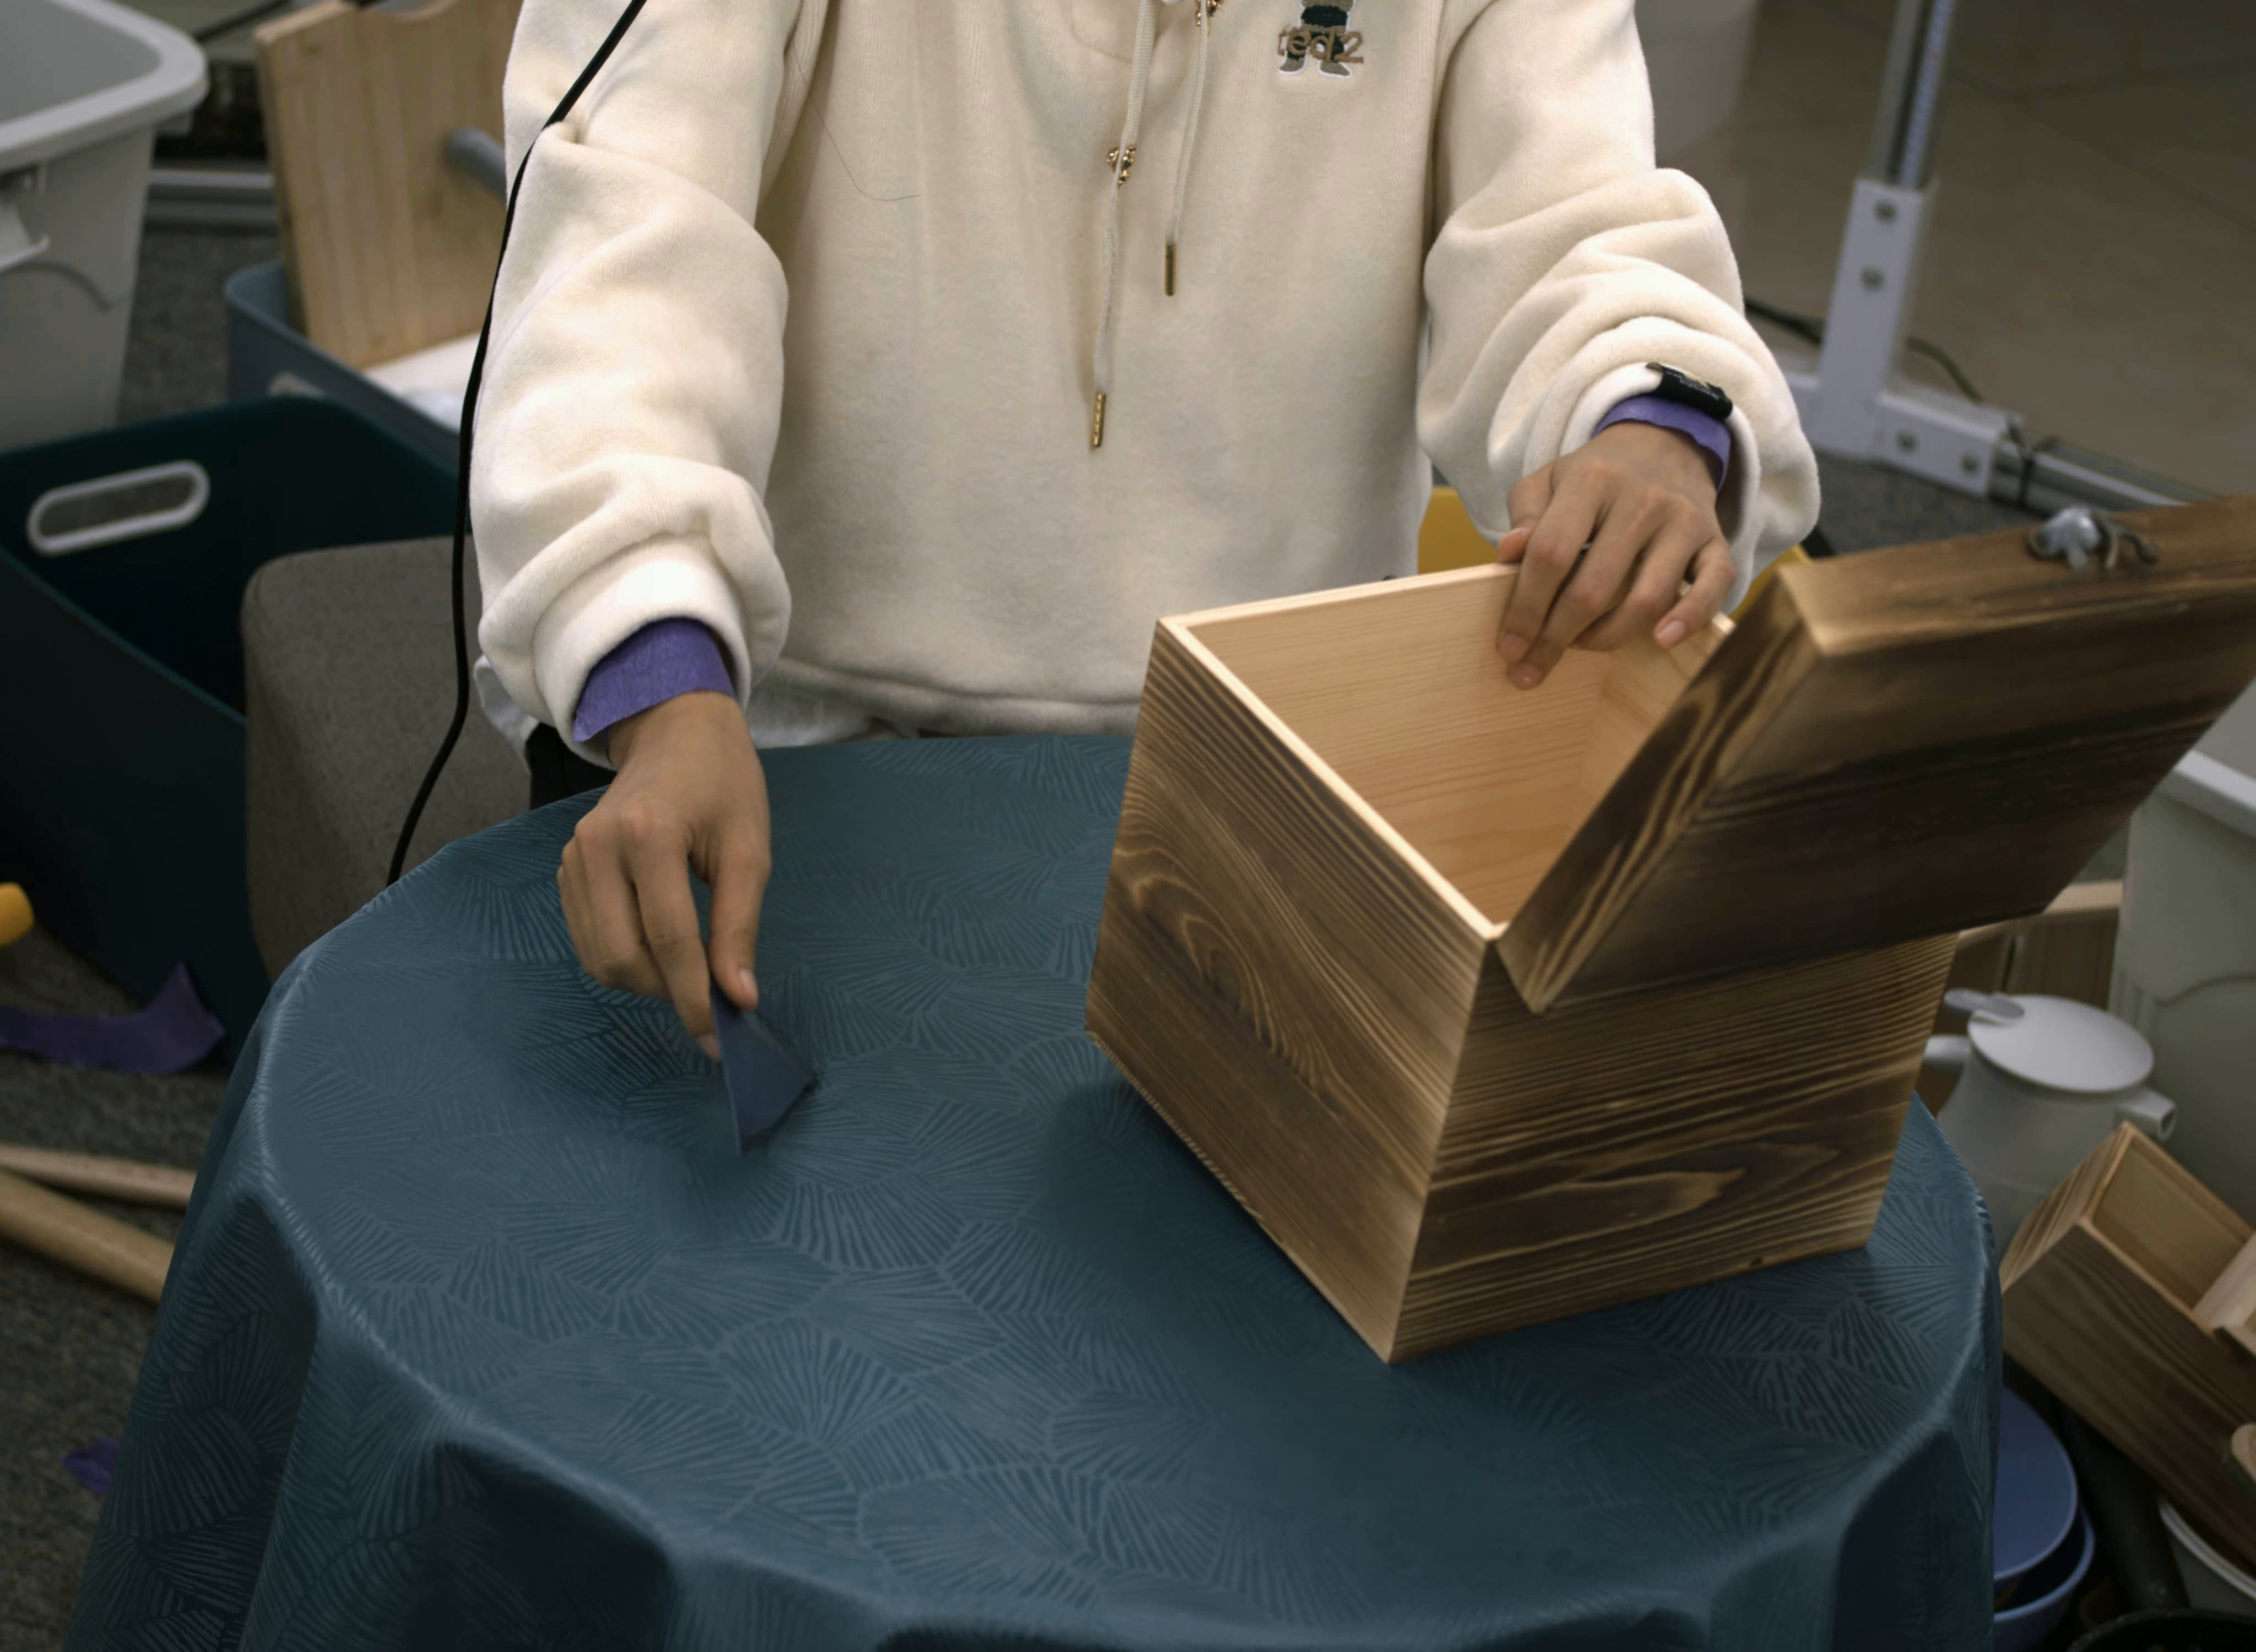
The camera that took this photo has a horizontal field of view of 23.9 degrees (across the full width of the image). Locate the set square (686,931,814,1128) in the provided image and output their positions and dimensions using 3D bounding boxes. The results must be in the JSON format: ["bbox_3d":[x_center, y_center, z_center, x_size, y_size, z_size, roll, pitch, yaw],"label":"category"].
[{"bbox_3d":[-0.137,0.066,1.786,0.061,0.006,0.132,56,15,0],"label":"set square"}]

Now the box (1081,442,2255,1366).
[{"bbox_3d":[0.175,-0.015,1.712,0.207,0.374,0.325,-10,37,-30],"label":"box"}]
